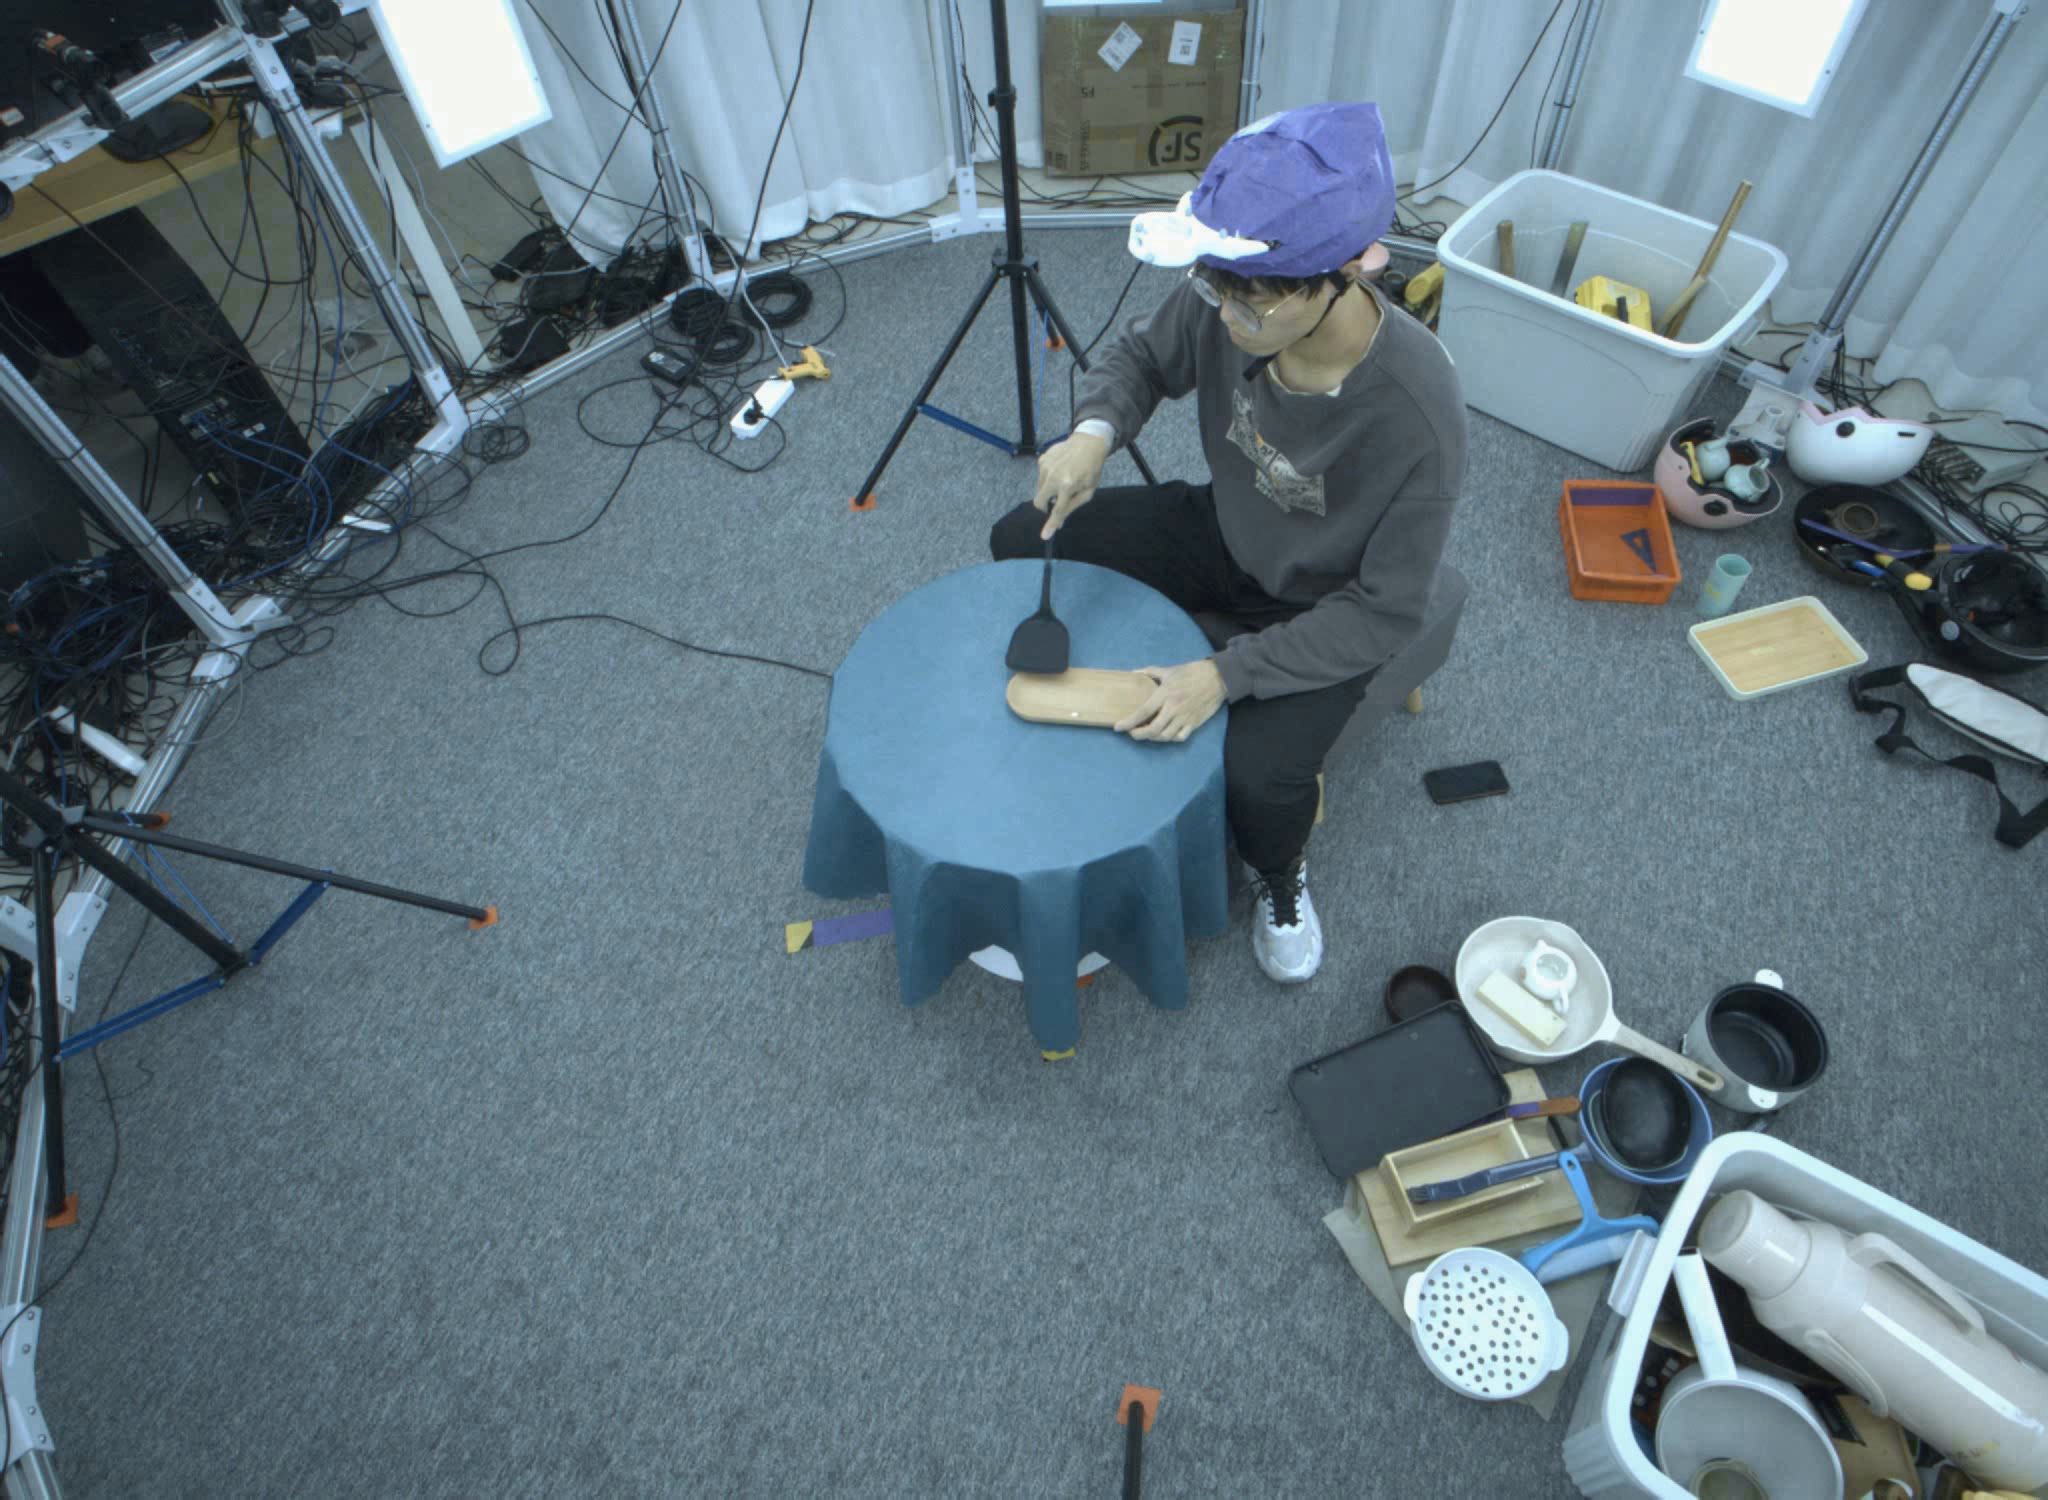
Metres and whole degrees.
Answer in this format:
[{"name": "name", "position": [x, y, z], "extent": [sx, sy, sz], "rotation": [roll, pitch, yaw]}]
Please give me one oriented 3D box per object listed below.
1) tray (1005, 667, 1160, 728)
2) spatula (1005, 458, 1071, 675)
[{"name": "tray", "position": [0.086, -0.079, 1.828], "extent": [0.230, 0.020, 0.101], "rotation": [4, 53, 7]}, {"name": "spatula", "position": [0.035, -0.275, 1.830], "extent": [0.099, 0.040, 0.327], "rotation": [6, 98, 10]}]
